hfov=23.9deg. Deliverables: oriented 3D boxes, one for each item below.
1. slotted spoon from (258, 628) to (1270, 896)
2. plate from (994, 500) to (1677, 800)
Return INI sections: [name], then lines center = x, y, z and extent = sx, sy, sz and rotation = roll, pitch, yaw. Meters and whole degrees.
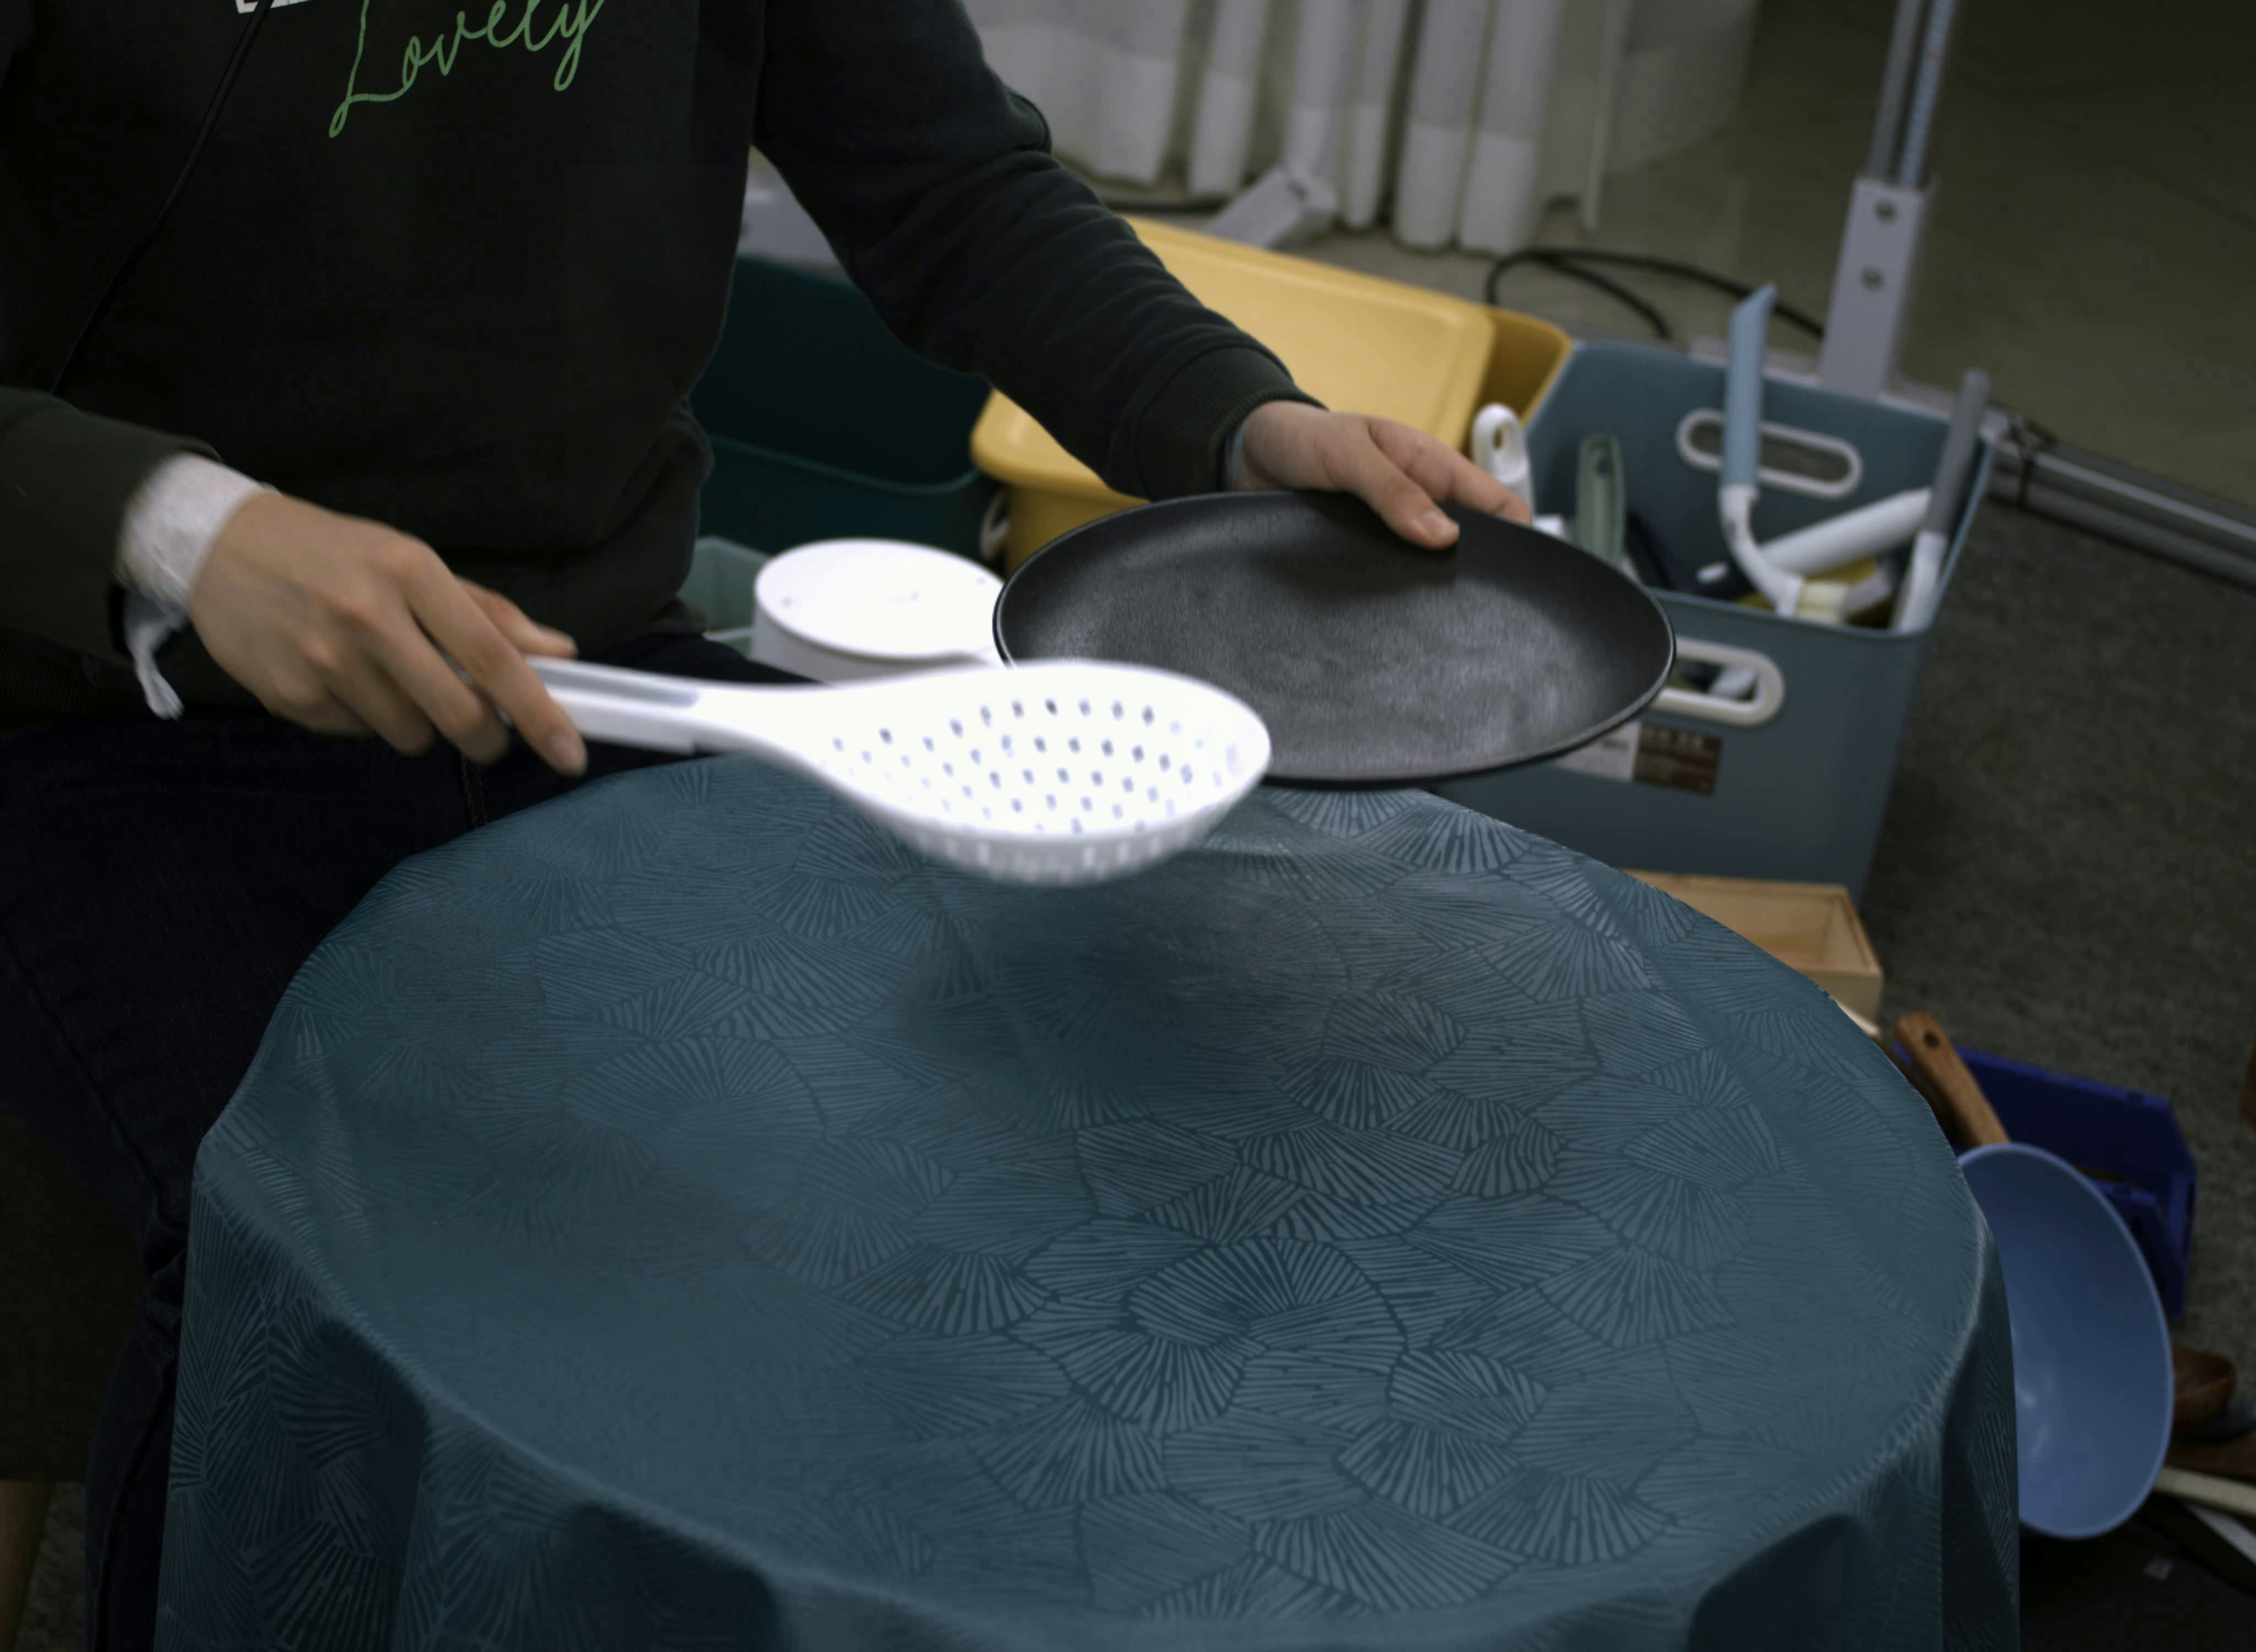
[slotted spoon]
center = -0.123, -0.030, 1.706
extent = 0.350, 0.045, 0.136
rotation = 13, 26, 19
[plate]
center = 0.073, -0.059, 1.895
extent = 0.243, 0.023, 0.246
rotation = 1, 27, -1
